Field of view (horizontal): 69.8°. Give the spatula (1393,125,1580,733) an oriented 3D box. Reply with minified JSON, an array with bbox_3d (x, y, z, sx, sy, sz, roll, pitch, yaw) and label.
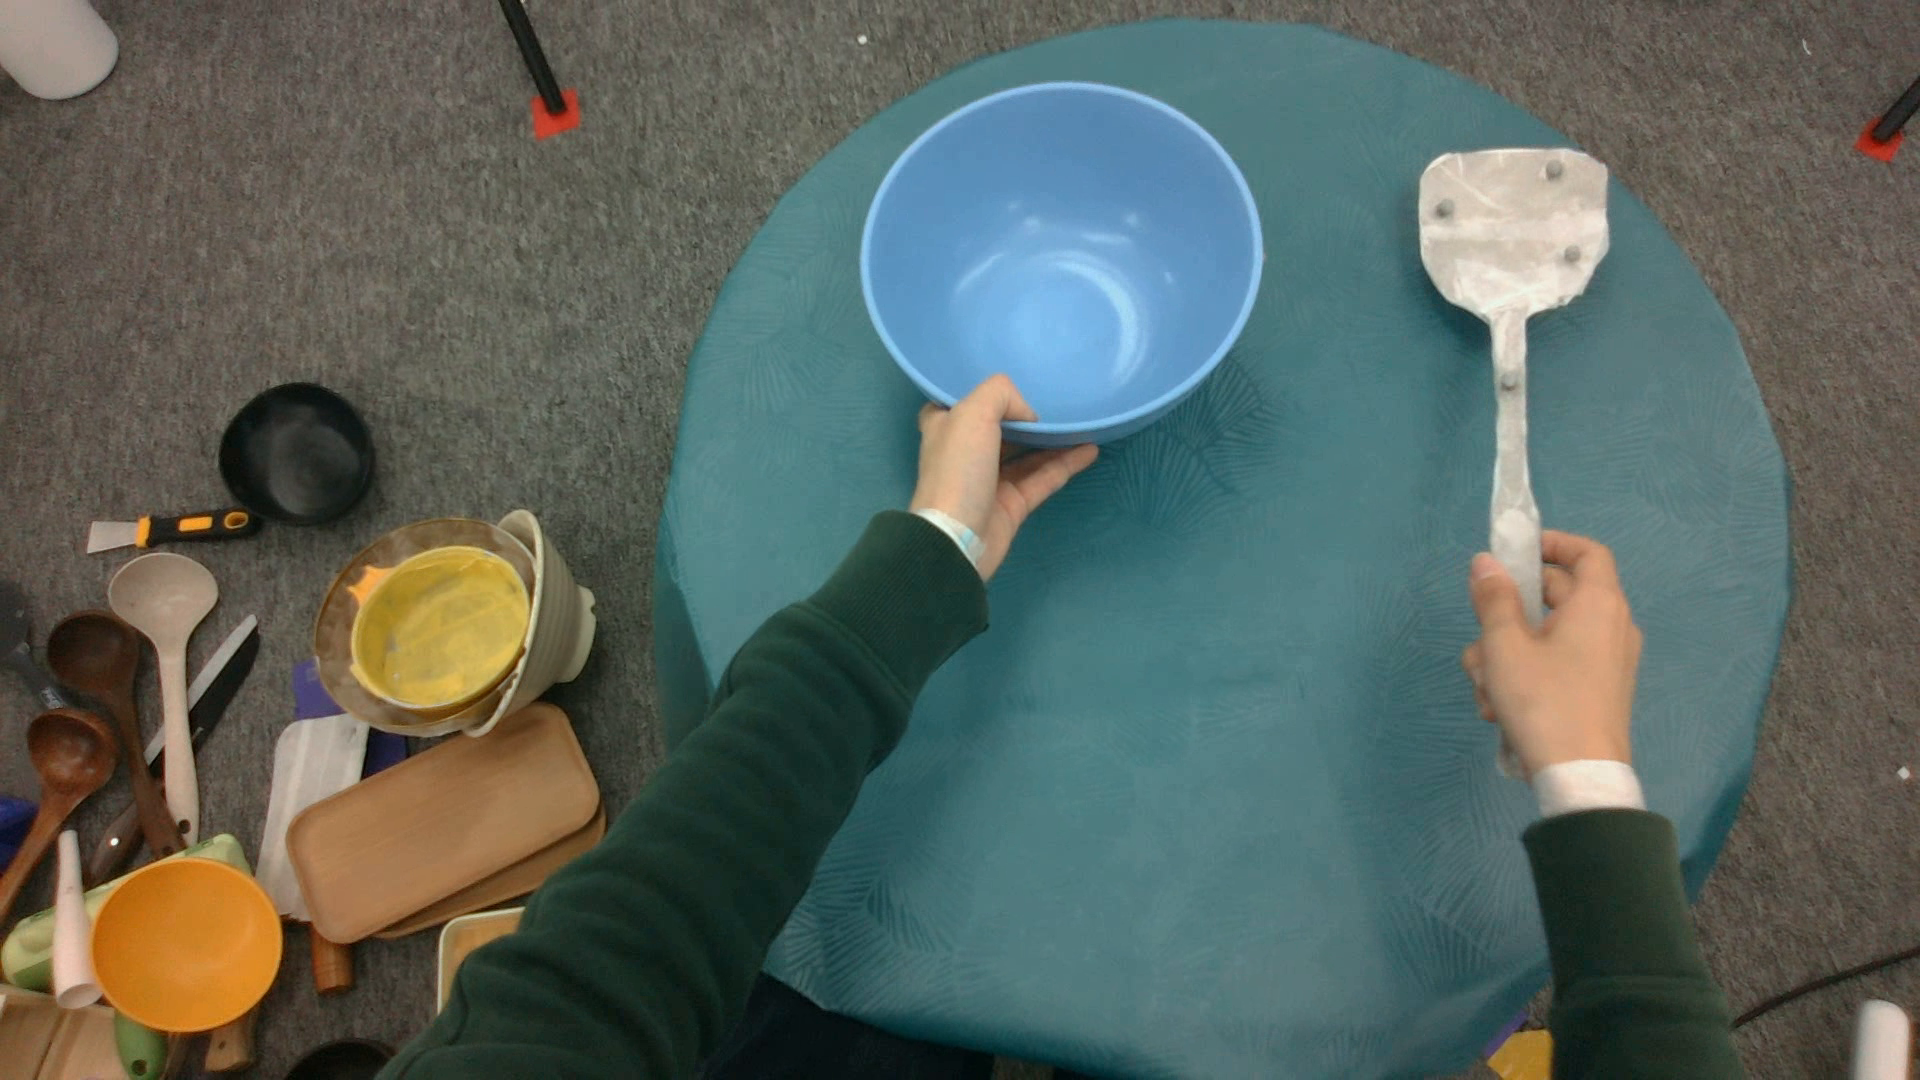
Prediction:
[{"bbox_3d":[0.261,-0.073,0.690,0.098,0.044,0.366,5,55,15],"label":"spatula"}]

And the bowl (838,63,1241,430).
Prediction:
[{"bbox_3d":[0.040,-0.136,0.713,0.196,0.095,0.197,0,70,1],"label":"bowl"}]
